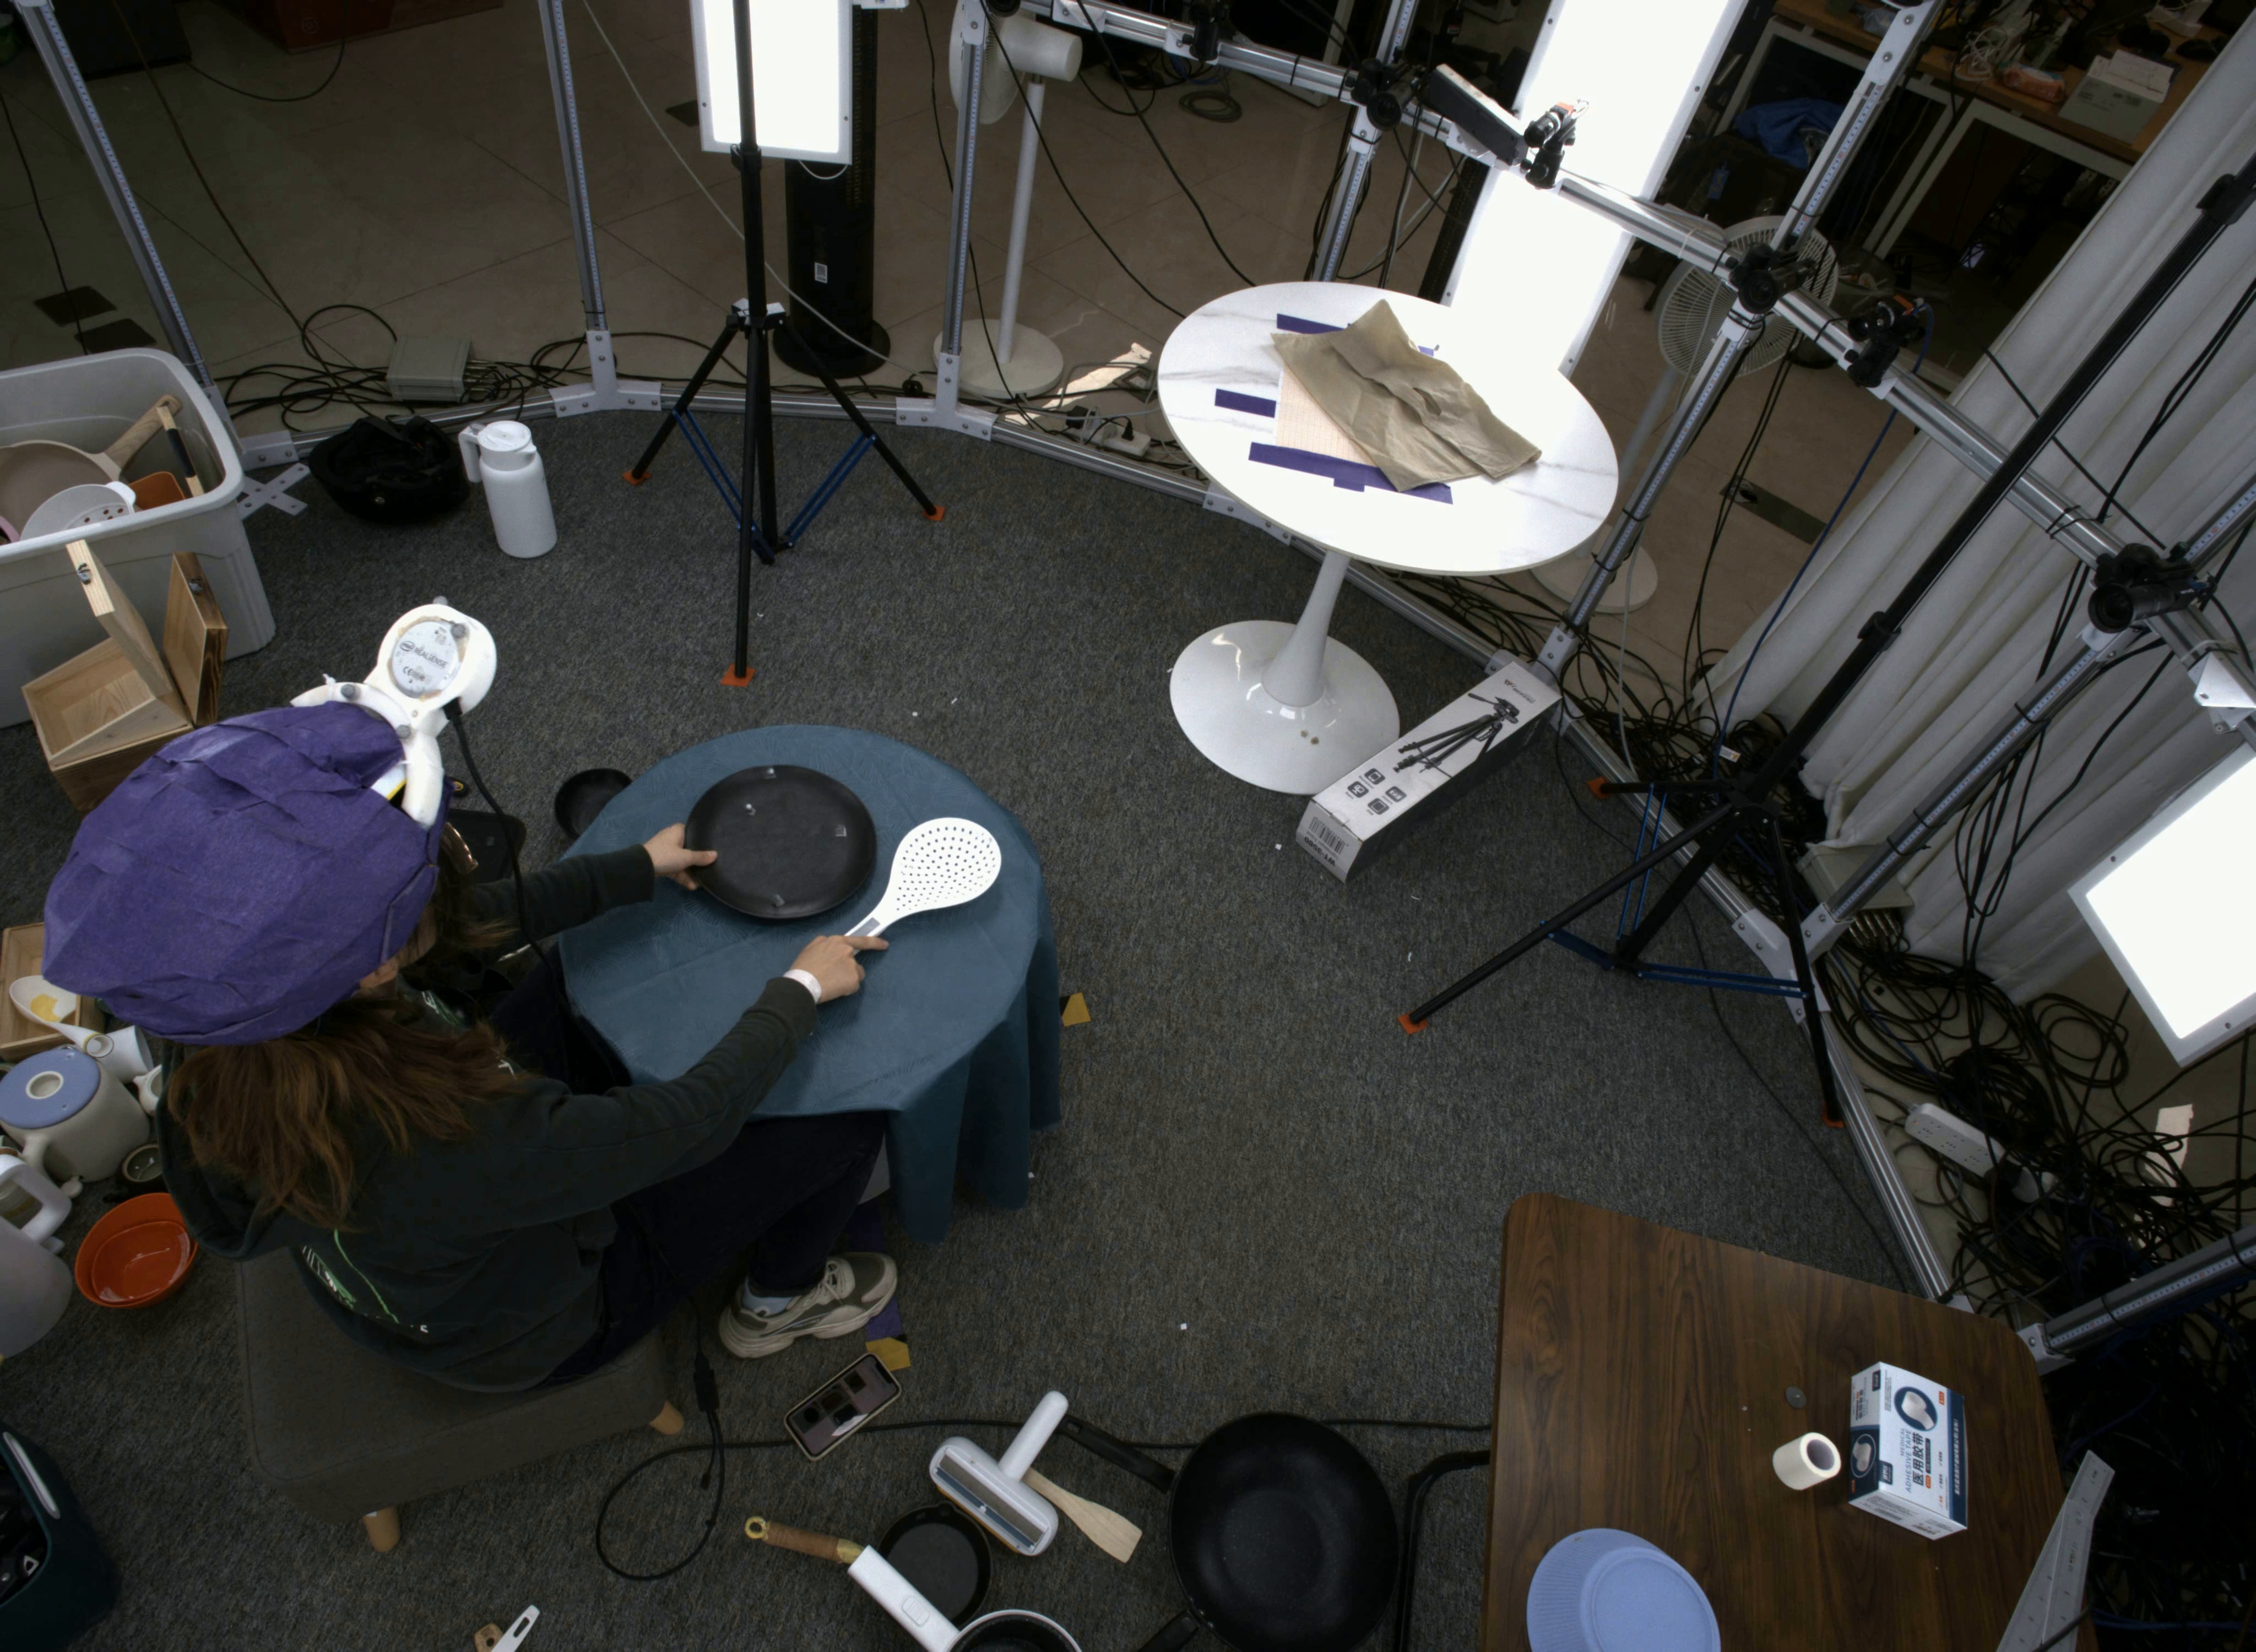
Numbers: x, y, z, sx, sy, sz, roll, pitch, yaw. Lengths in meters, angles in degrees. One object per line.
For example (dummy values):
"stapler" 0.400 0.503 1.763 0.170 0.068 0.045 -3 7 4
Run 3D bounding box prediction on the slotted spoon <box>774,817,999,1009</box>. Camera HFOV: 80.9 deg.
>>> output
"slotted spoon" -0.306 0.109 1.649 0.132 0.047 0.350 36 54 21

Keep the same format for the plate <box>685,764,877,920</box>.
"plate" -0.449 0.020 1.683 0.245 0.024 0.240 11 53 -13
